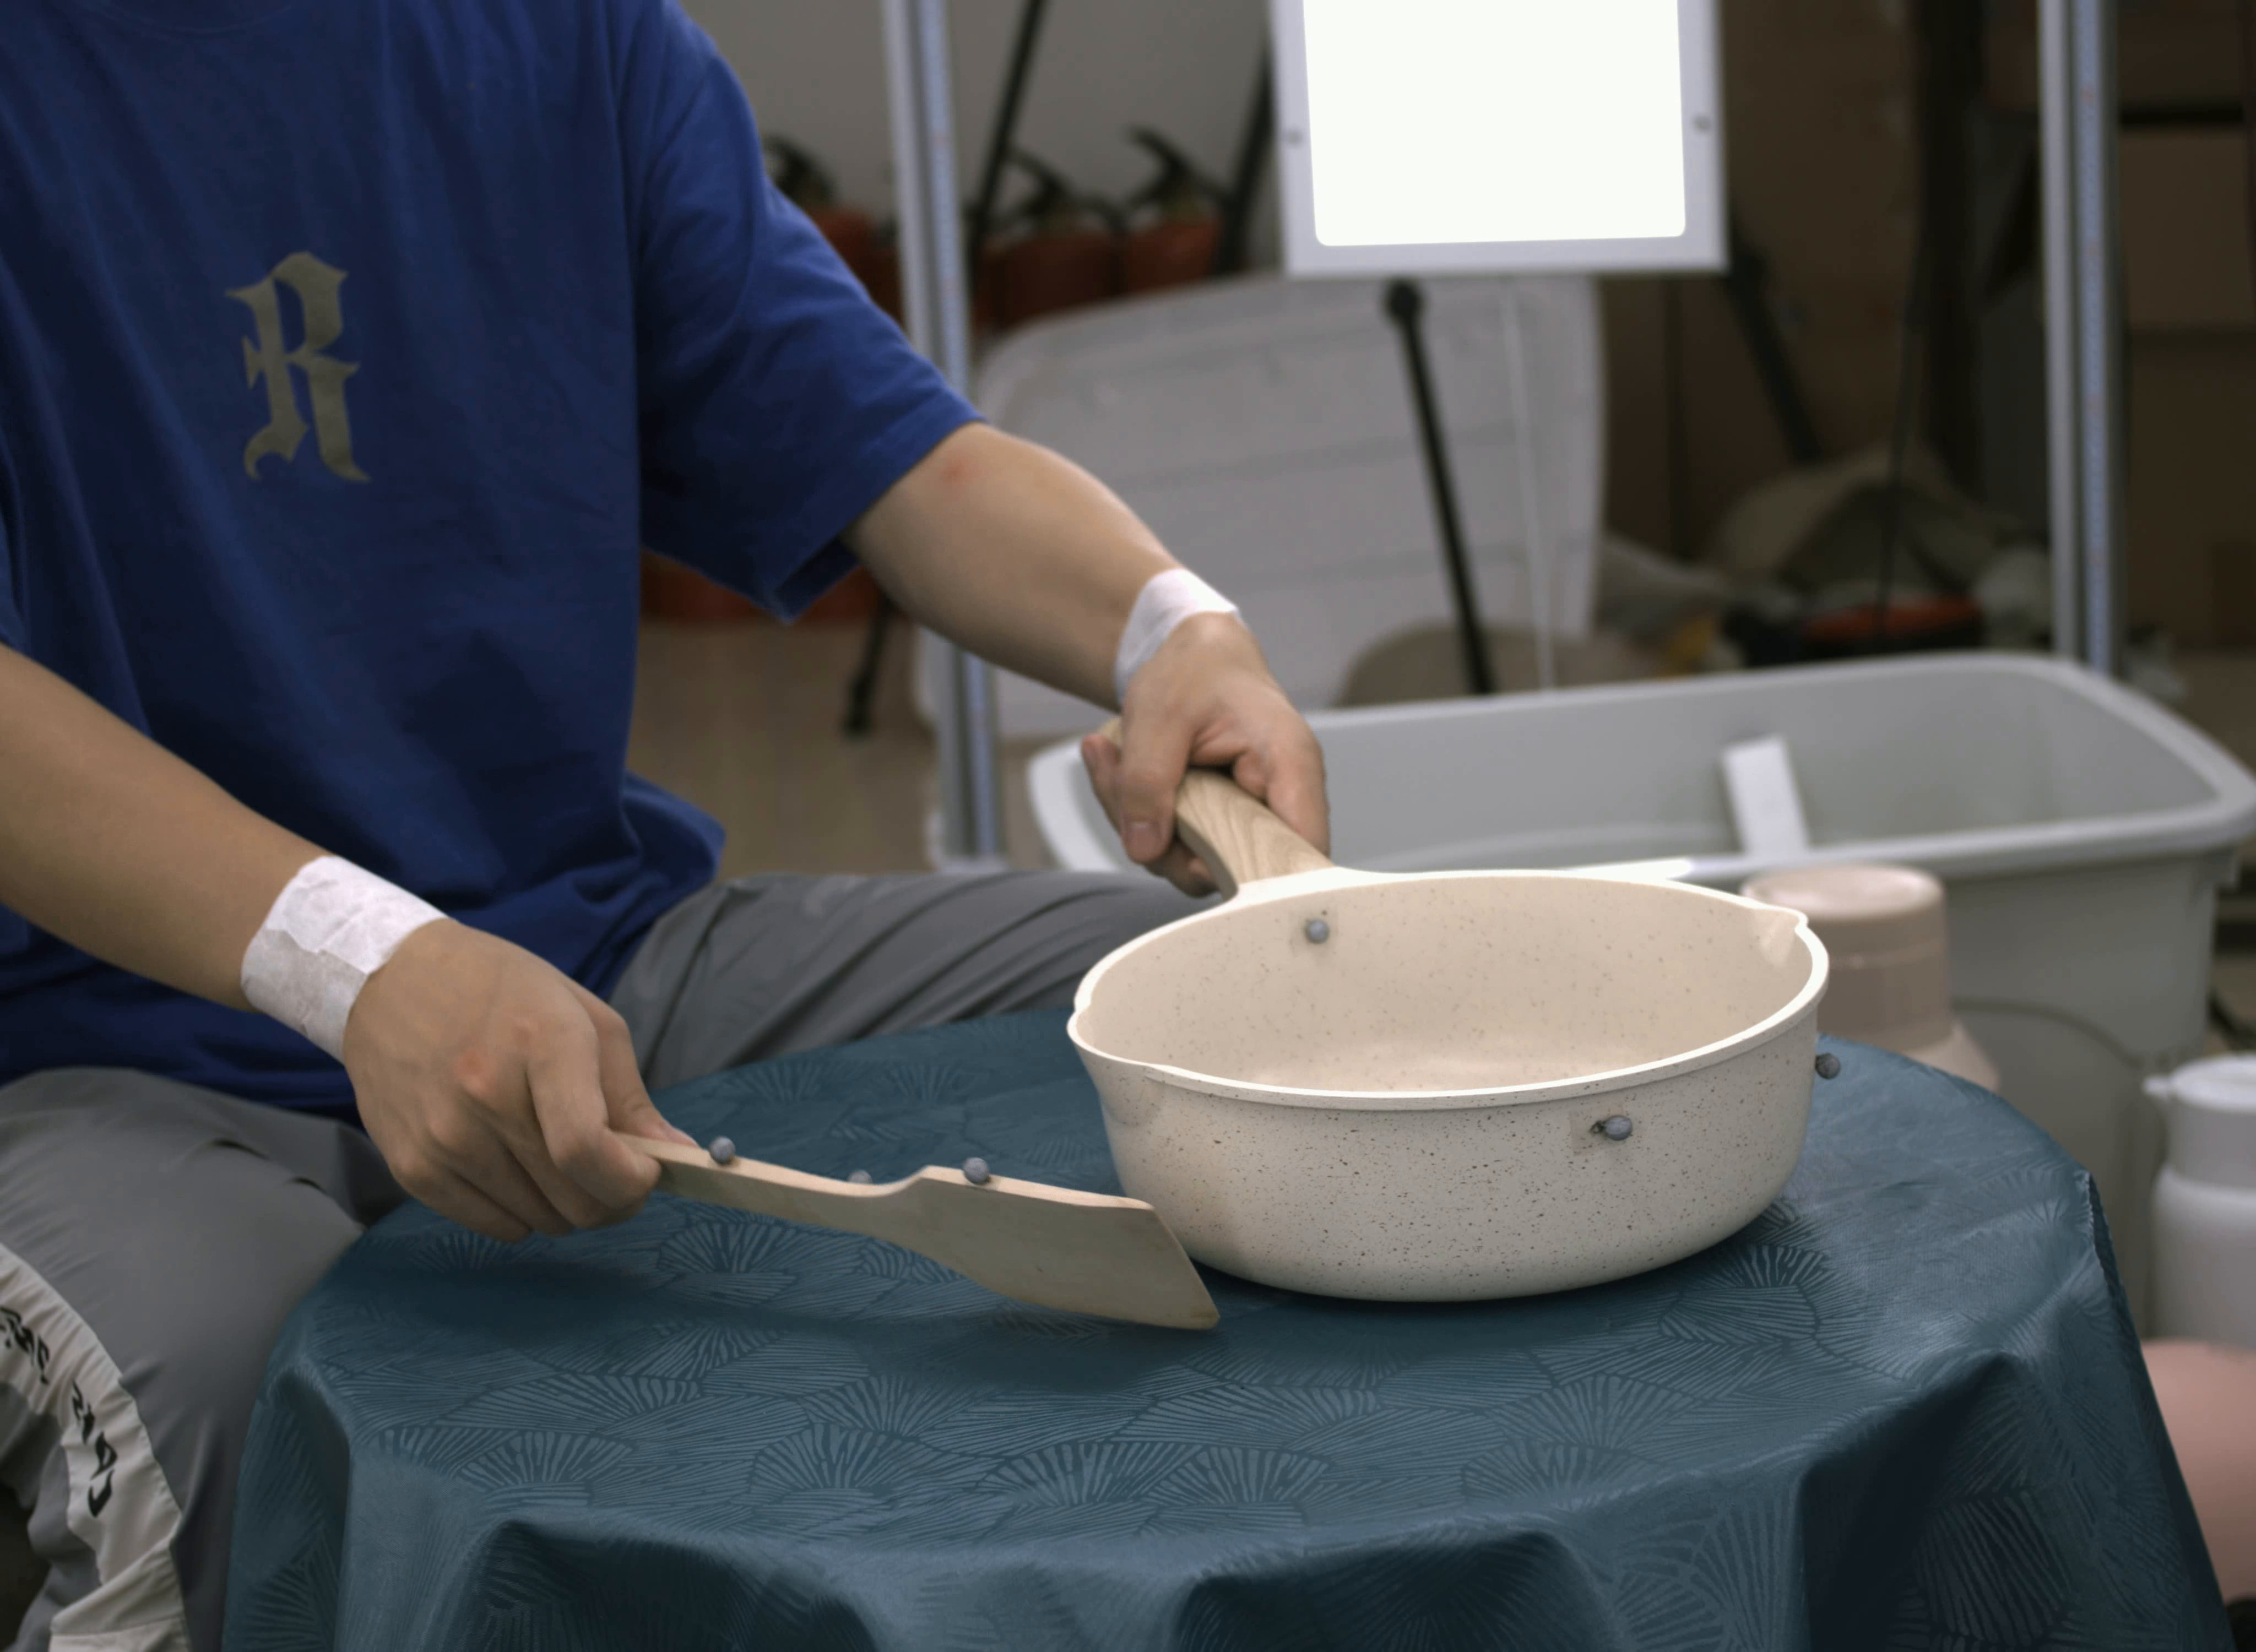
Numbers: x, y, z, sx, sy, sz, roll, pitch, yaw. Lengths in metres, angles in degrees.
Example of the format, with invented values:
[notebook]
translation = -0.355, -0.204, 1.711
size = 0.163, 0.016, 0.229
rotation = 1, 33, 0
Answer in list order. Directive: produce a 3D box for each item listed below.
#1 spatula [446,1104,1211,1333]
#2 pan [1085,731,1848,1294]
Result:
[spatula]
translation = -0.107, 0.121, 1.802
size = 0.298, 0.071, 0.010
rotation = 9, 57, 33
[pan]
translation = 0.082, 0.058, 1.914
size = 0.259, 0.102, 0.440
rotation = -12, 16, -18
